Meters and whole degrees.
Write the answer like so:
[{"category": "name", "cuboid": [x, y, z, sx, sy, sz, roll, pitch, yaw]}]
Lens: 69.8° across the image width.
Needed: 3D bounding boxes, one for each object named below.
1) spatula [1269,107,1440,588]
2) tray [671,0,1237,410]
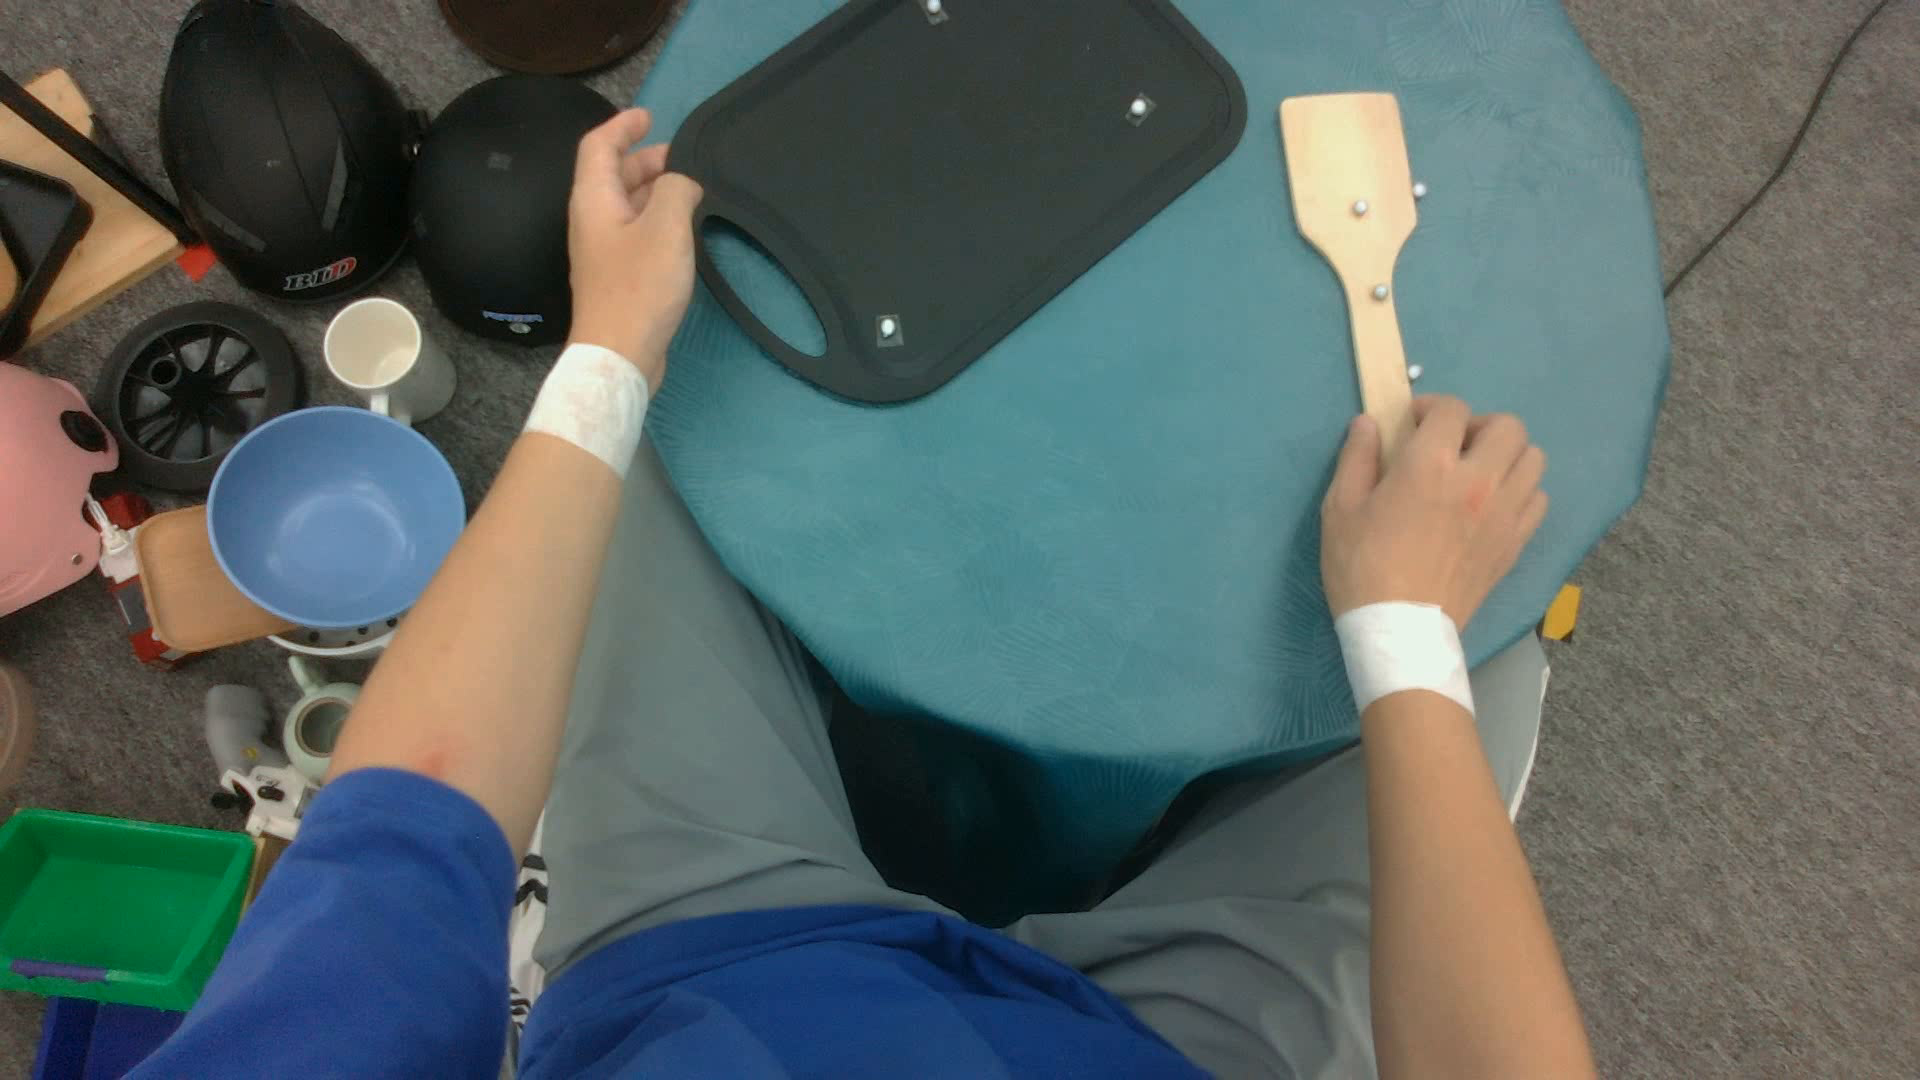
[{"category": "spatula", "cuboid": [0.233, -0.115, 0.782, 0.072, 0.010, 0.293, -5, 75, -4]}, {"category": "tray", "cuboid": [-0.006, -0.221, 0.801, 0.326, 0.010, 0.211, -40, 80, -12]}]
